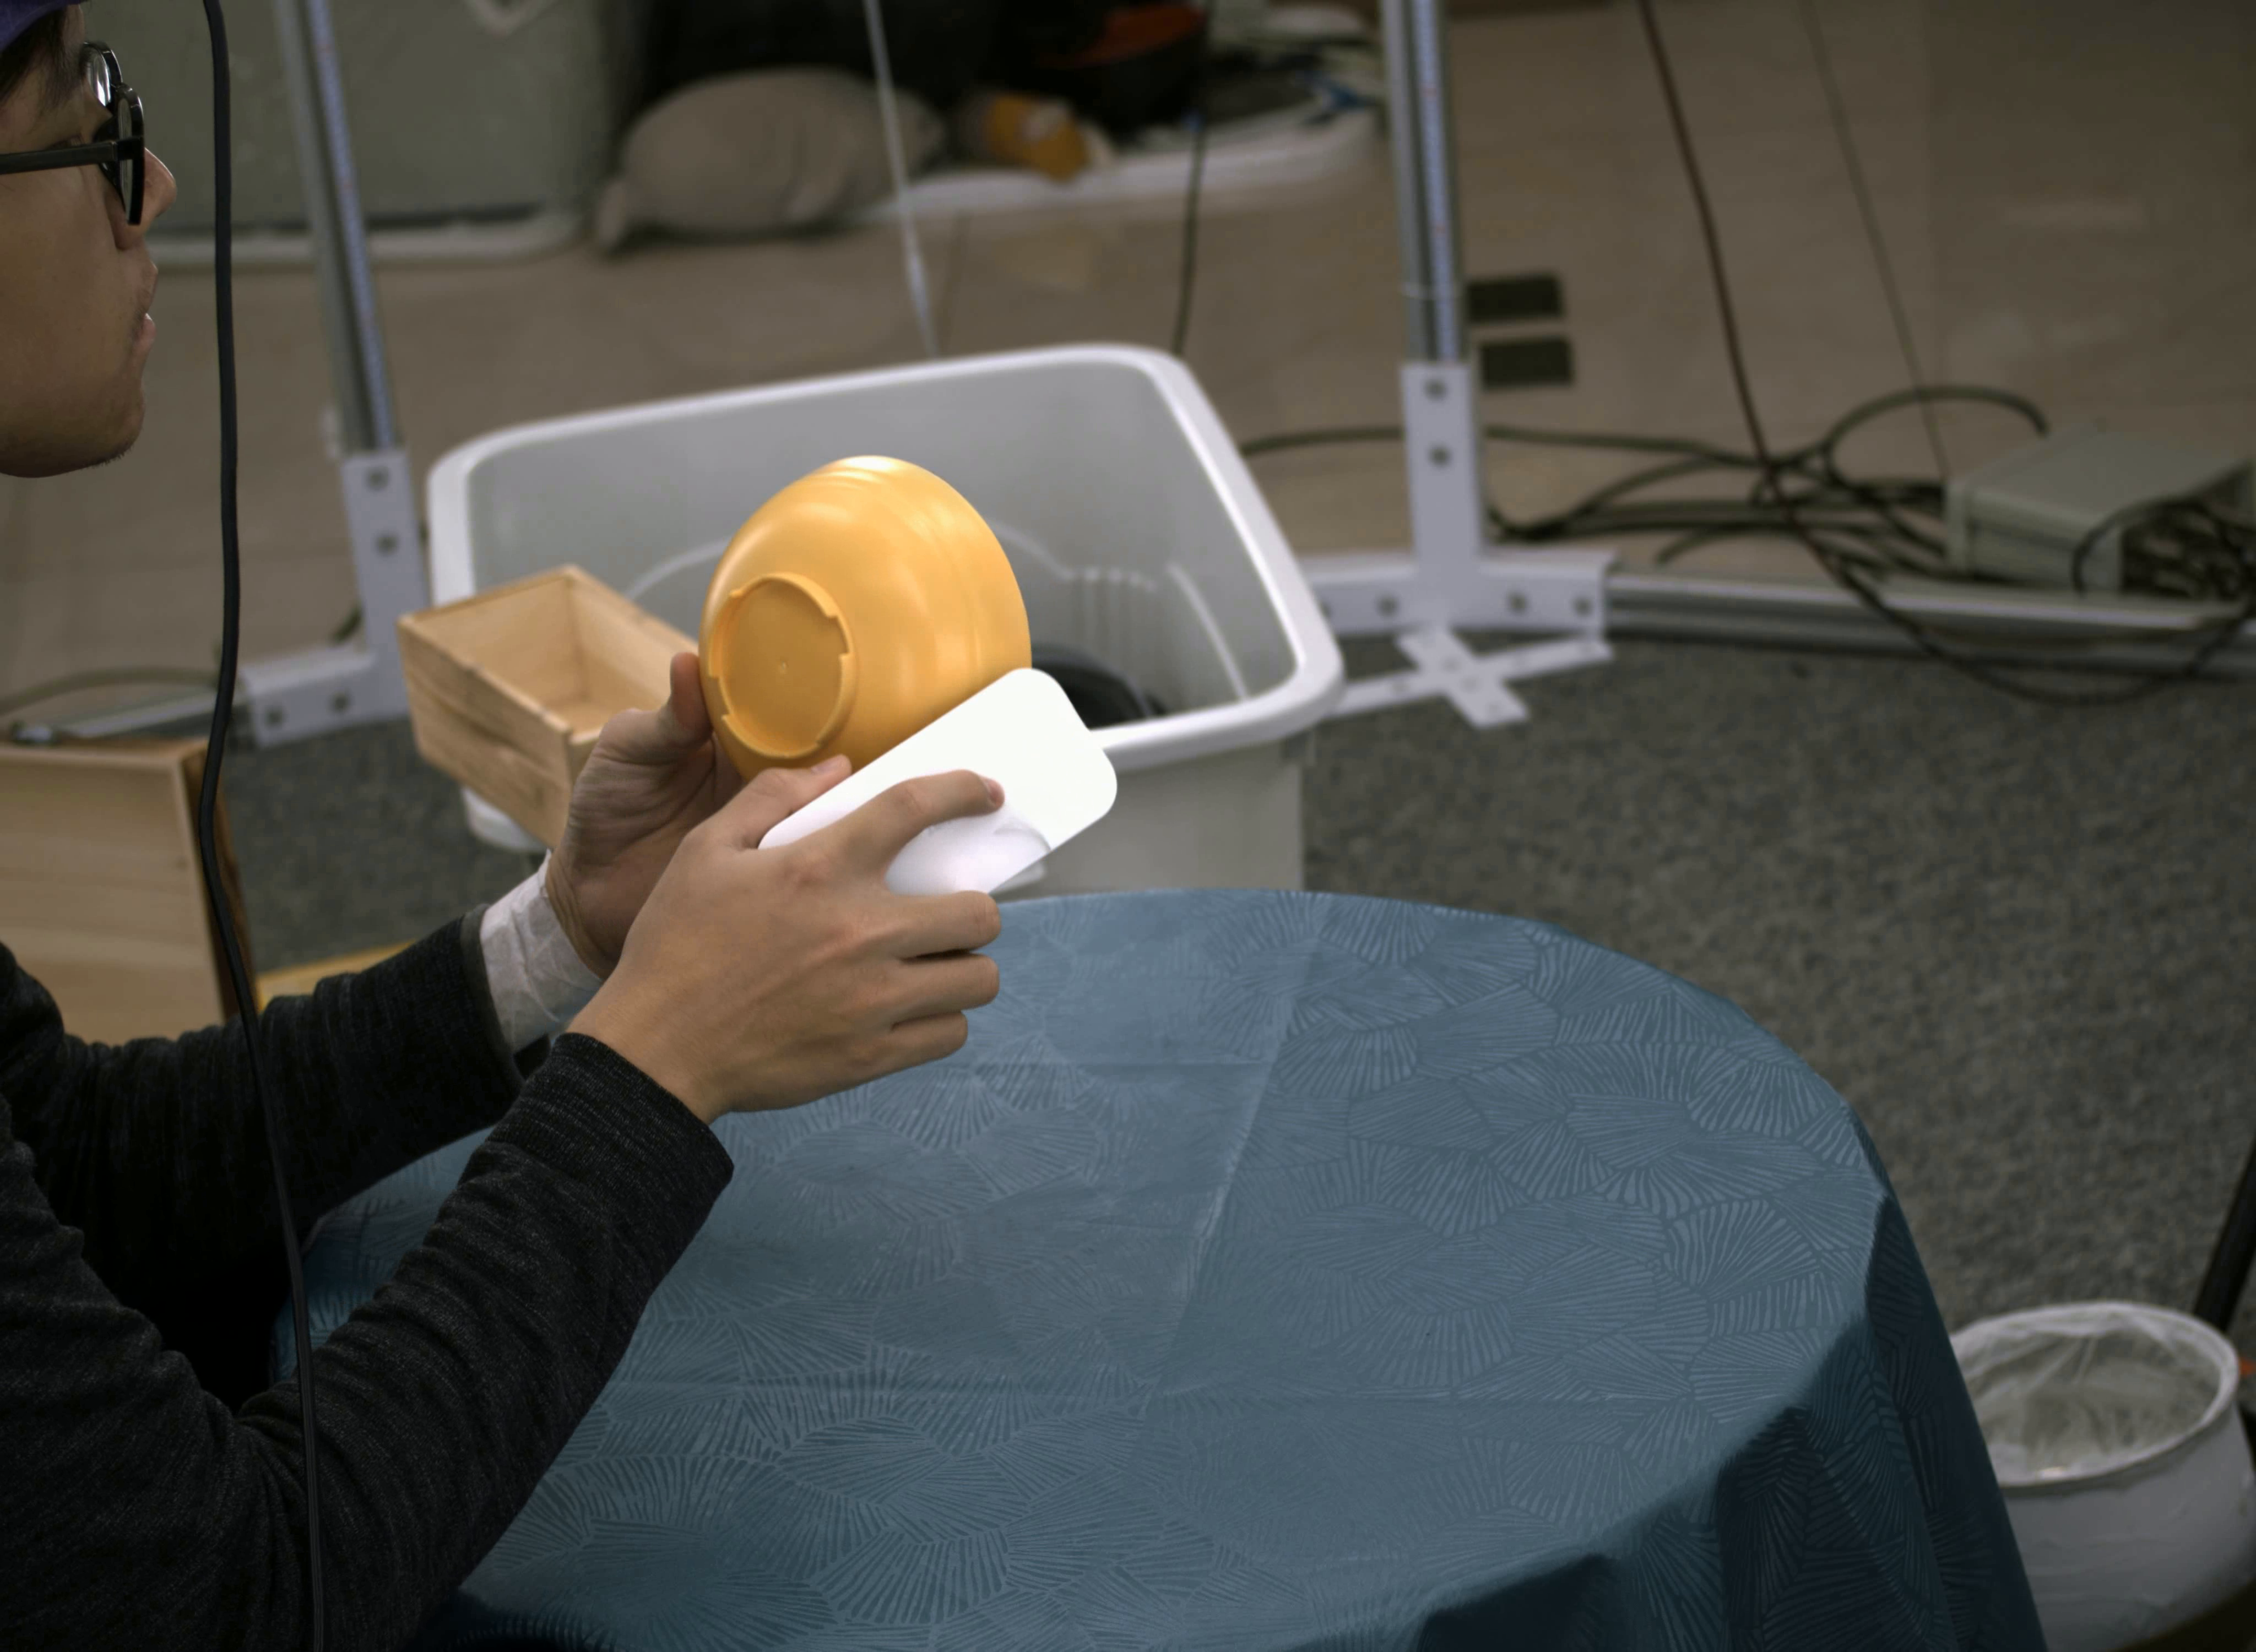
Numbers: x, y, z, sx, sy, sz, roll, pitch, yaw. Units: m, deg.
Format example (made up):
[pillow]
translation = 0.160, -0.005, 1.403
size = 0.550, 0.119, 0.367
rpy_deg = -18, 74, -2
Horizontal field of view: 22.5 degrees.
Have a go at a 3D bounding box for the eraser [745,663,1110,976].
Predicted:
[eraser]
translation = -0.071, -0.003, 1.980
size = 0.130, 0.063, 0.034
rpy_deg = -34, 3, -18

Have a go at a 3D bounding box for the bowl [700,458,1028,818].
[bowl]
translation = -0.108, -0.059, 2.039
size = 0.144, 0.147, 0.060
rpy_deg = 15, 17, 37
